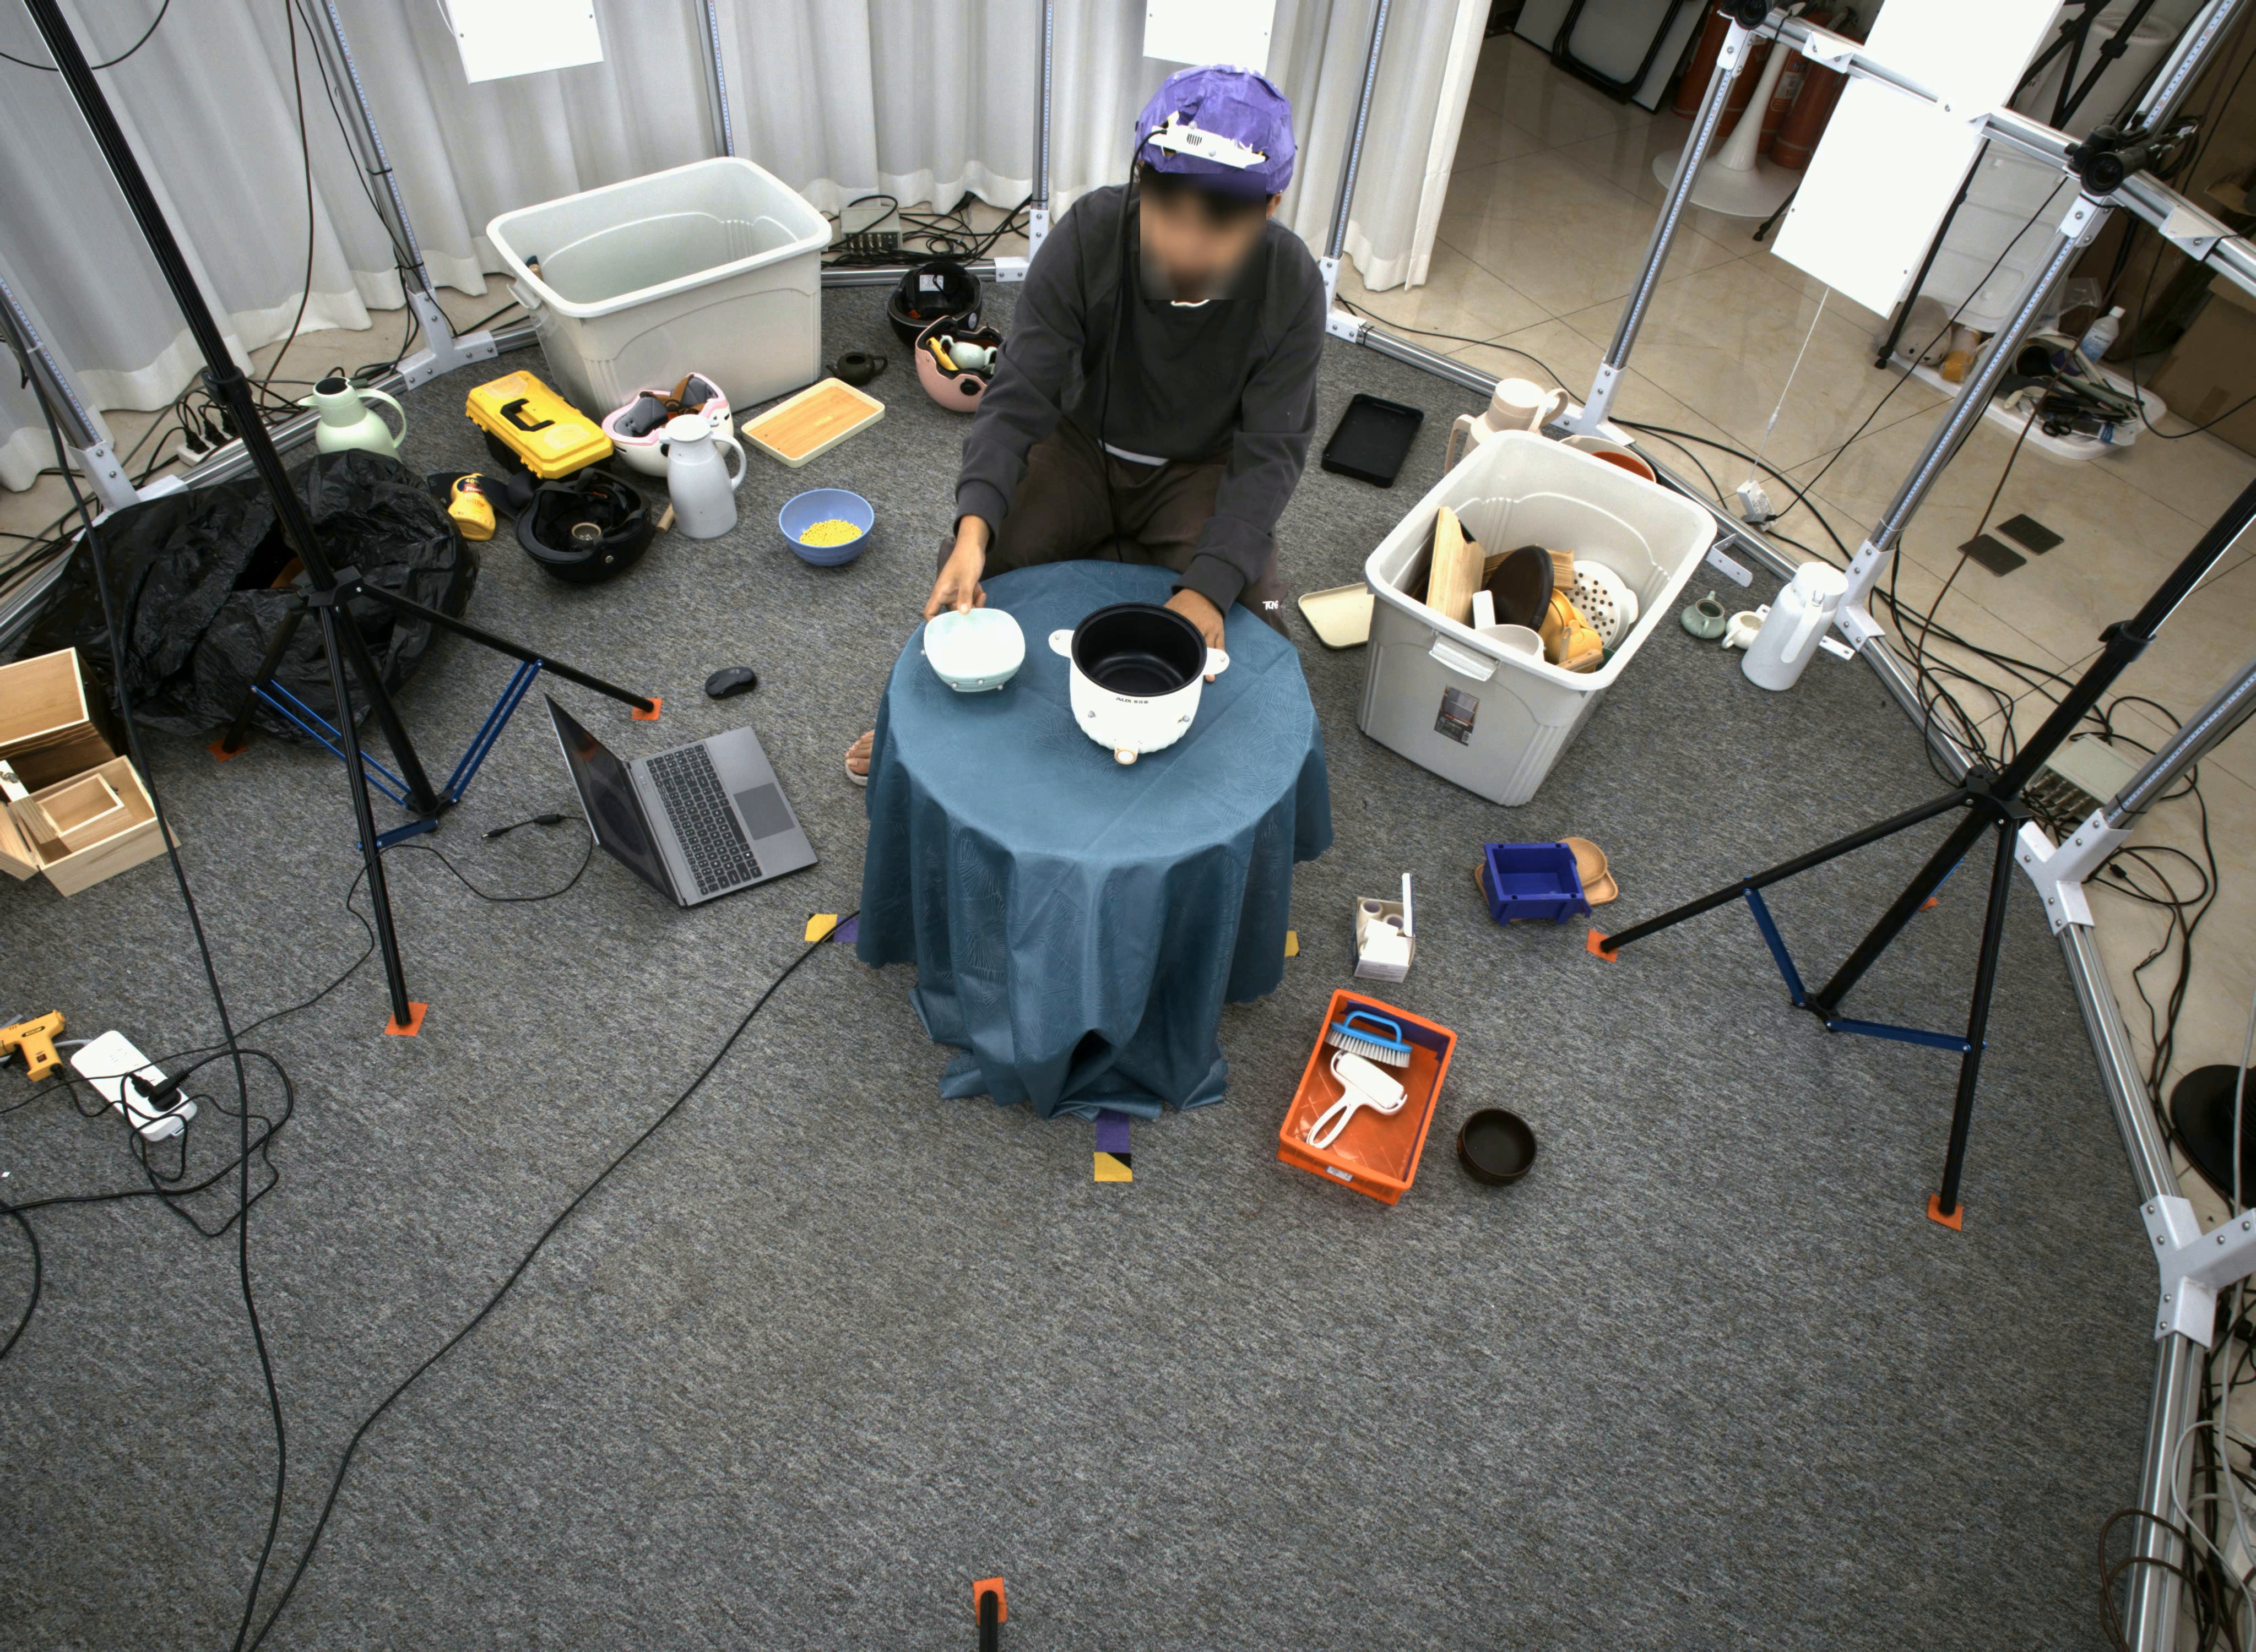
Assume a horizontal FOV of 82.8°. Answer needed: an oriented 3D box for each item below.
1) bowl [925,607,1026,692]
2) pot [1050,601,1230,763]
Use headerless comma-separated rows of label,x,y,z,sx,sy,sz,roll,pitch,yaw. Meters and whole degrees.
bowl,-0.215,-0.241,1.822,0.151,0.057,0.155,2,51,-3
pot,0.013,-0.192,1.742,0.240,0.139,0.195,5,46,2
